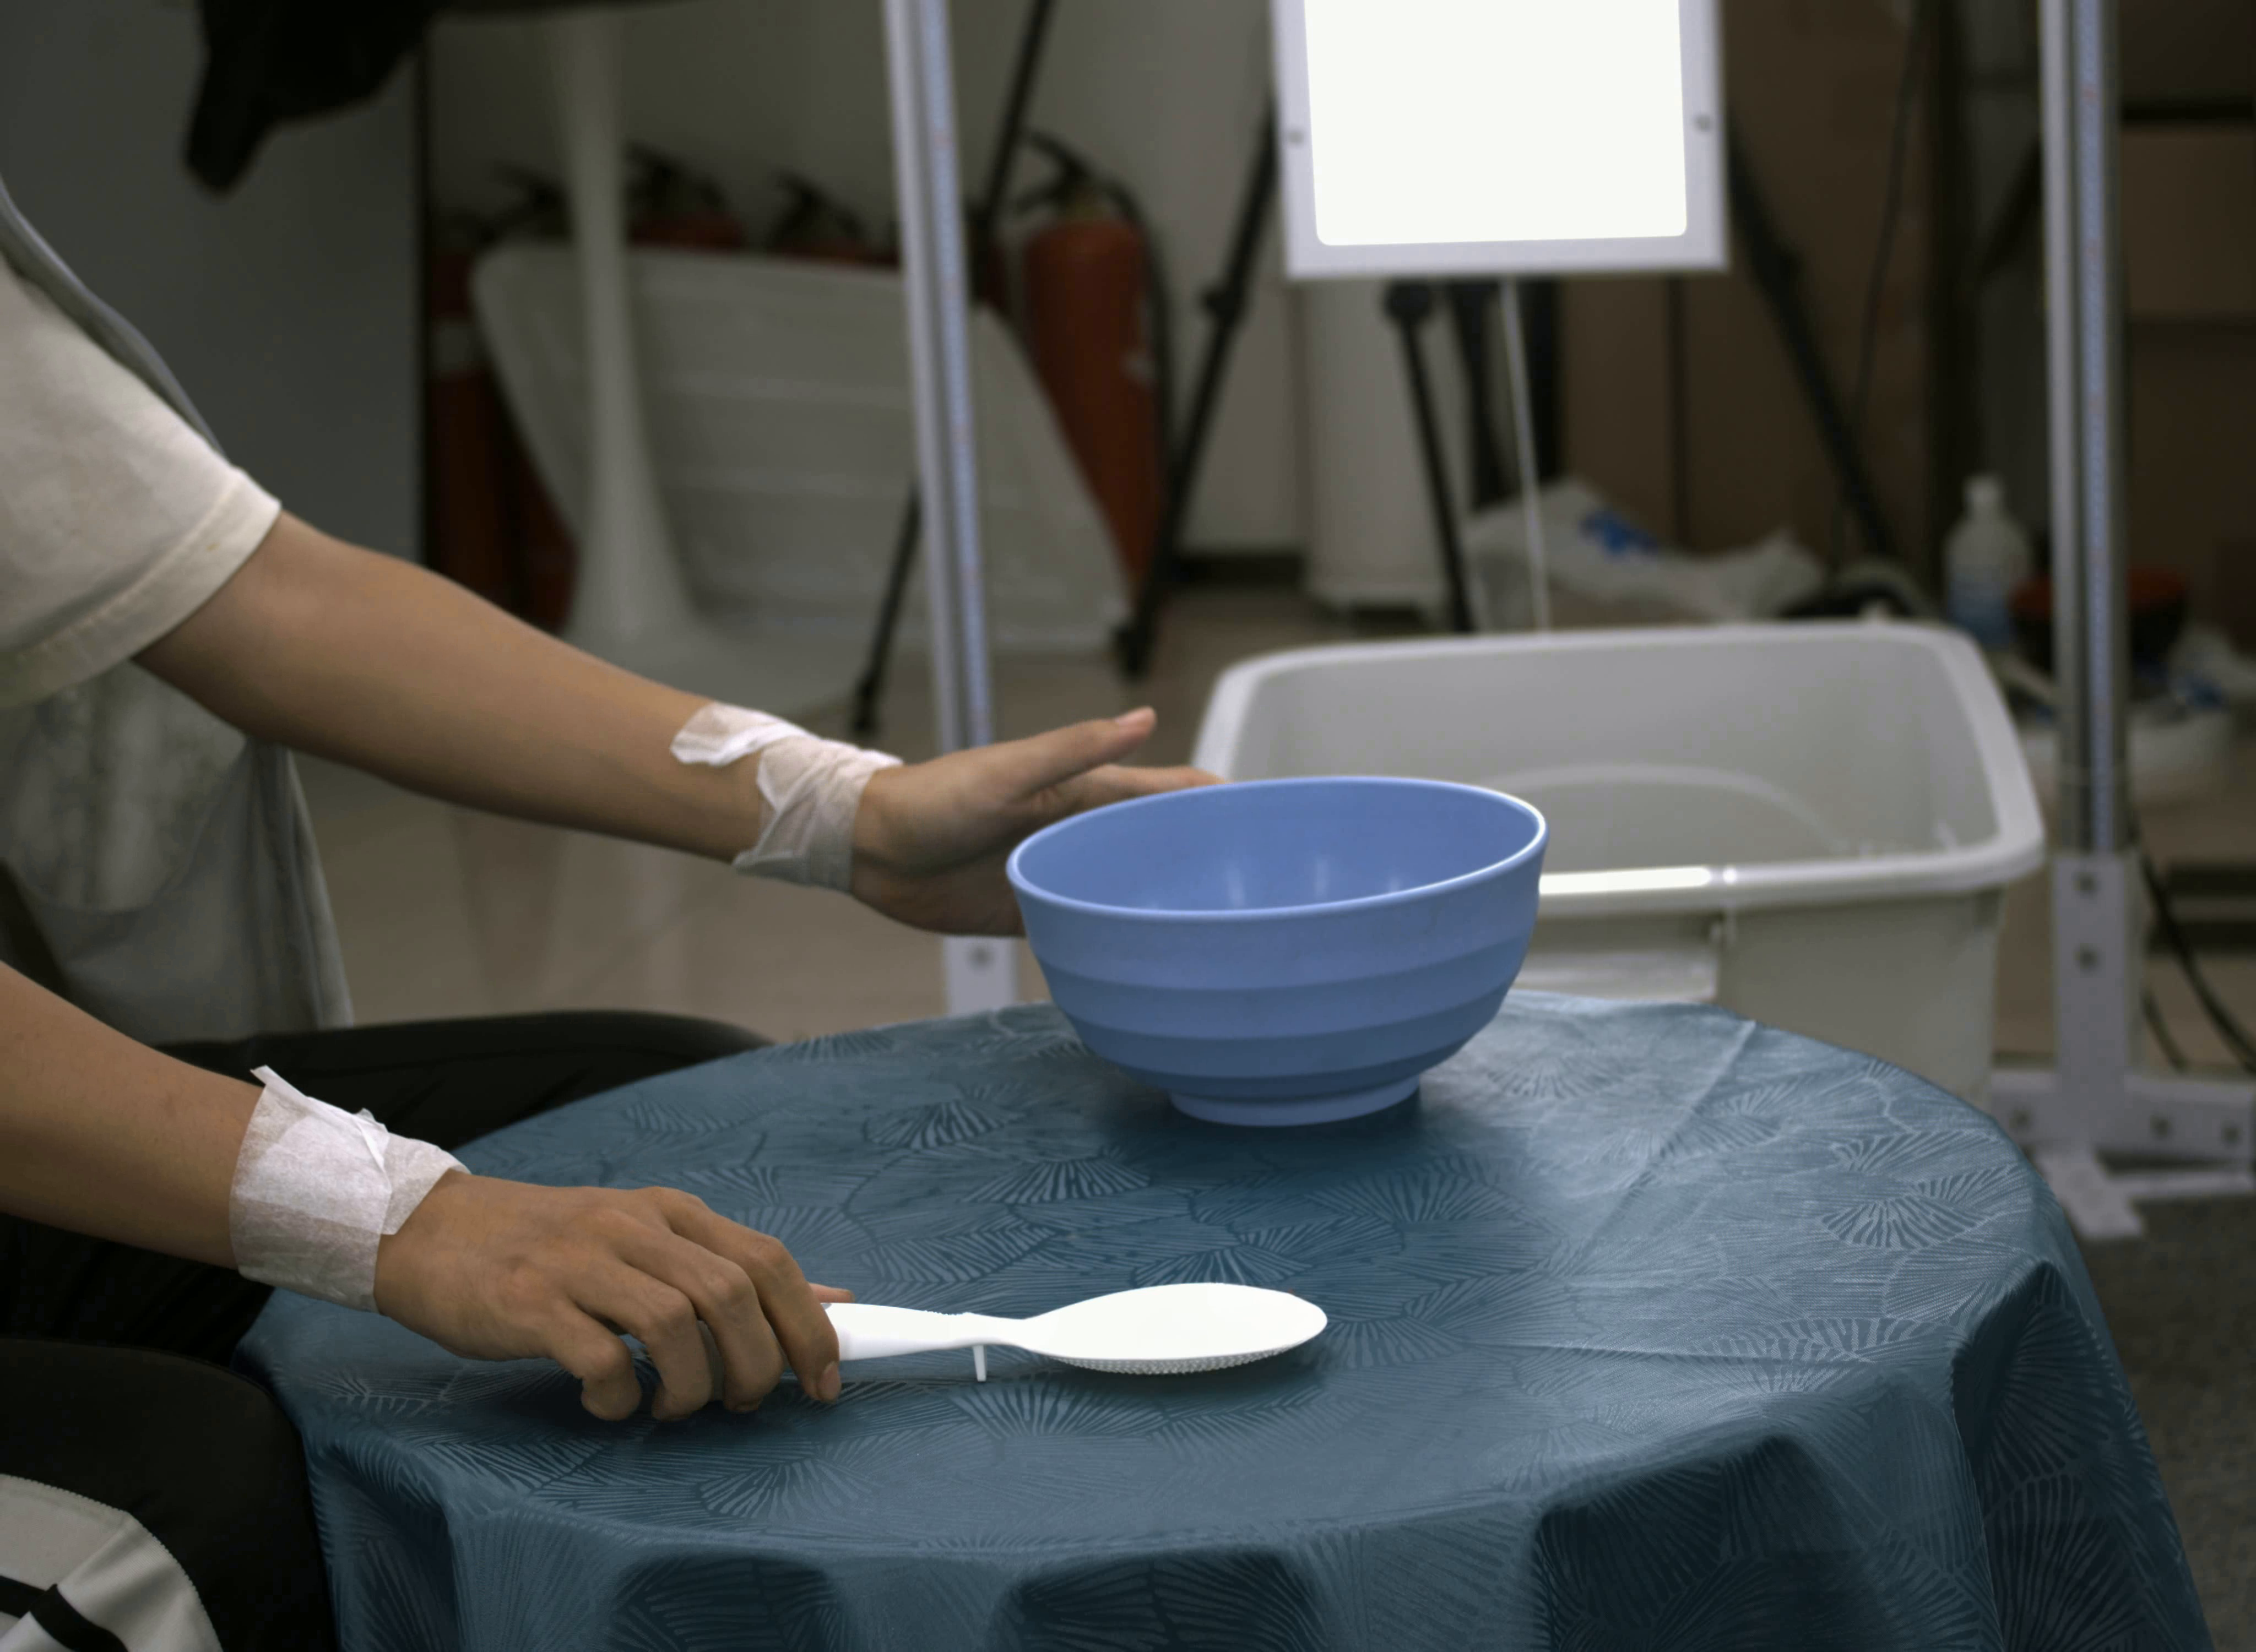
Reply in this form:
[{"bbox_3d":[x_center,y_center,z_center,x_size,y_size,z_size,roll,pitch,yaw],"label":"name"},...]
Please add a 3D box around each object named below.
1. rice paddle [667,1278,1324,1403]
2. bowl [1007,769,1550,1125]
[{"bbox_3d":[-0.041,0.157,1.721,0.205,0.029,0.068,-4,15,4],"label":"rice paddle"},{"bbox_3d":[0.057,0.049,1.987,0.196,0.096,0.196,-4,15,0],"label":"bowl"}]
